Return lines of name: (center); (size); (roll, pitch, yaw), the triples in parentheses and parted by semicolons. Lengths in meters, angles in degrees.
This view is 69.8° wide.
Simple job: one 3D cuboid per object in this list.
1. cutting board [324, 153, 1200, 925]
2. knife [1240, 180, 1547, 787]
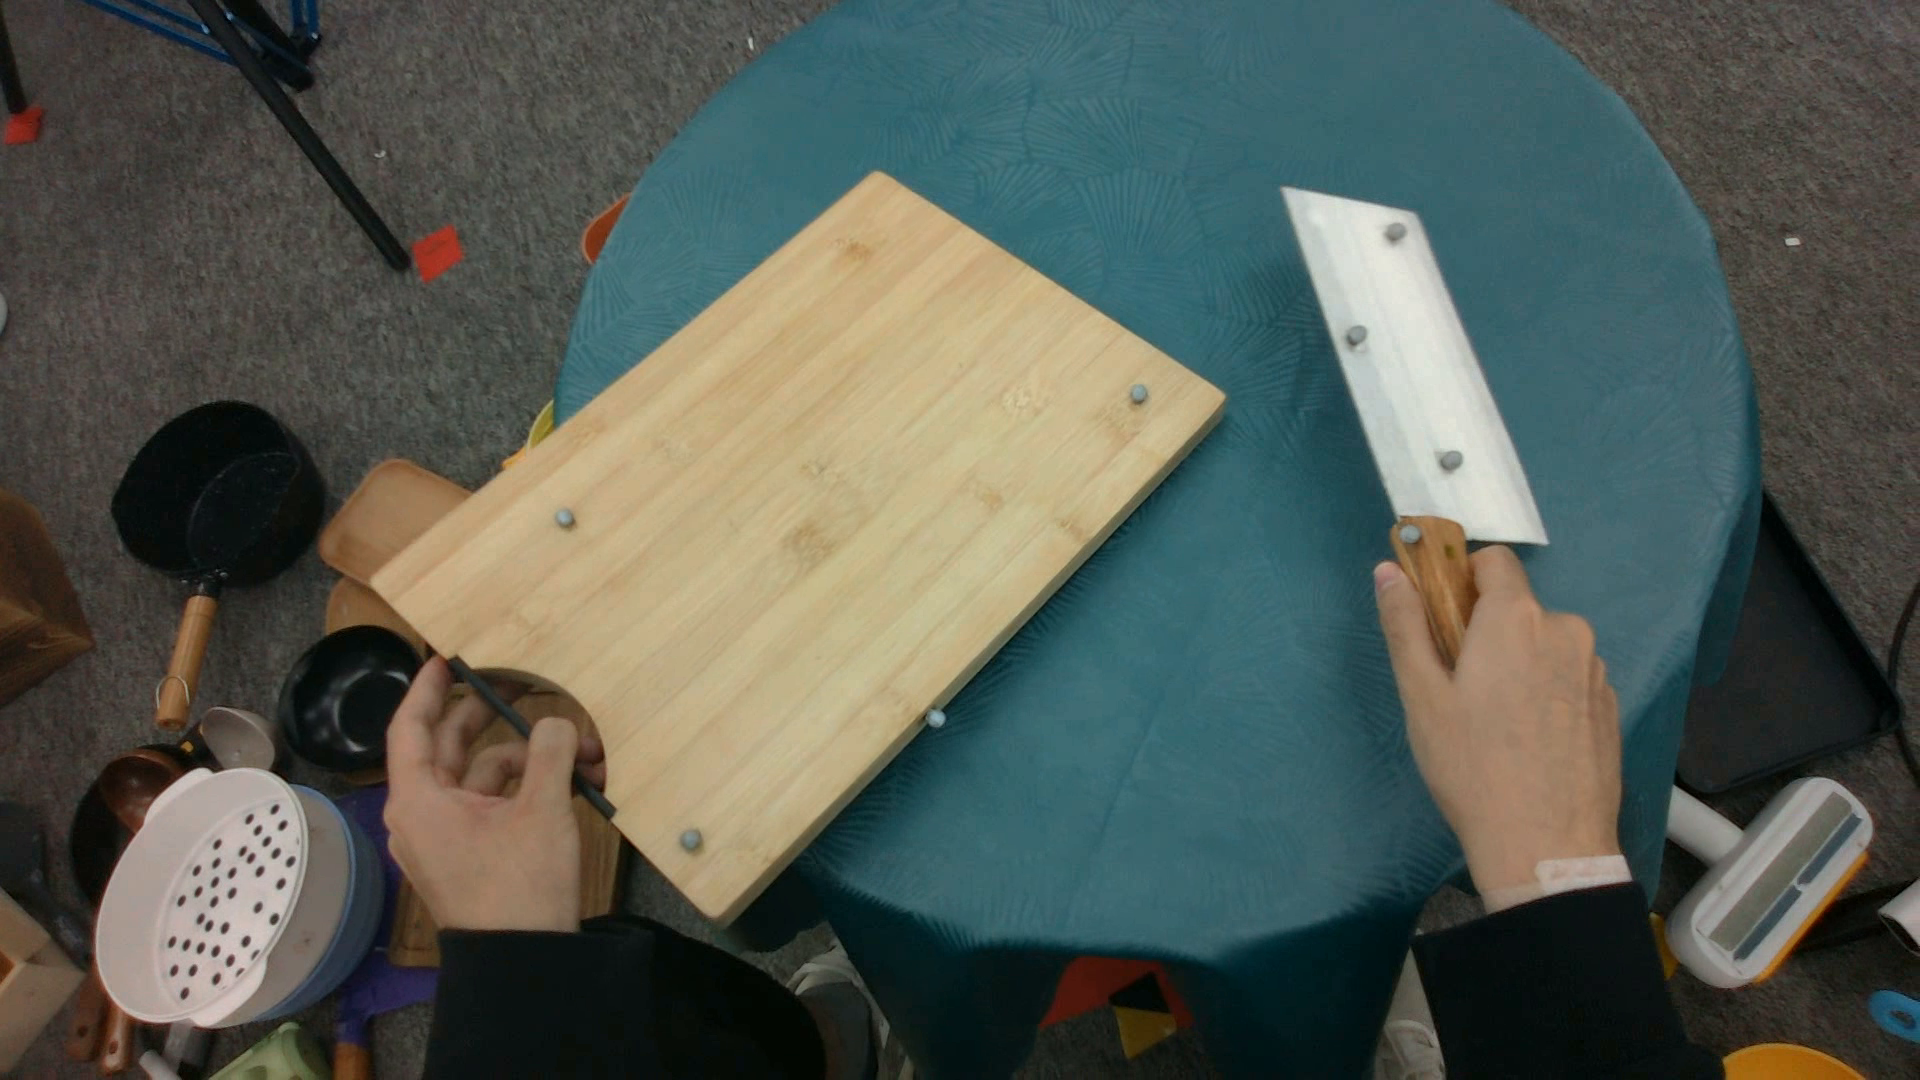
cutting board: (-0.085, -0.026, 0.656); (0.251, 0.023, 0.350); (37, 67, 21)
knife: (0.205, -0.040, 0.617); (0.093, 0.021, 0.306); (1, 62, -31)
